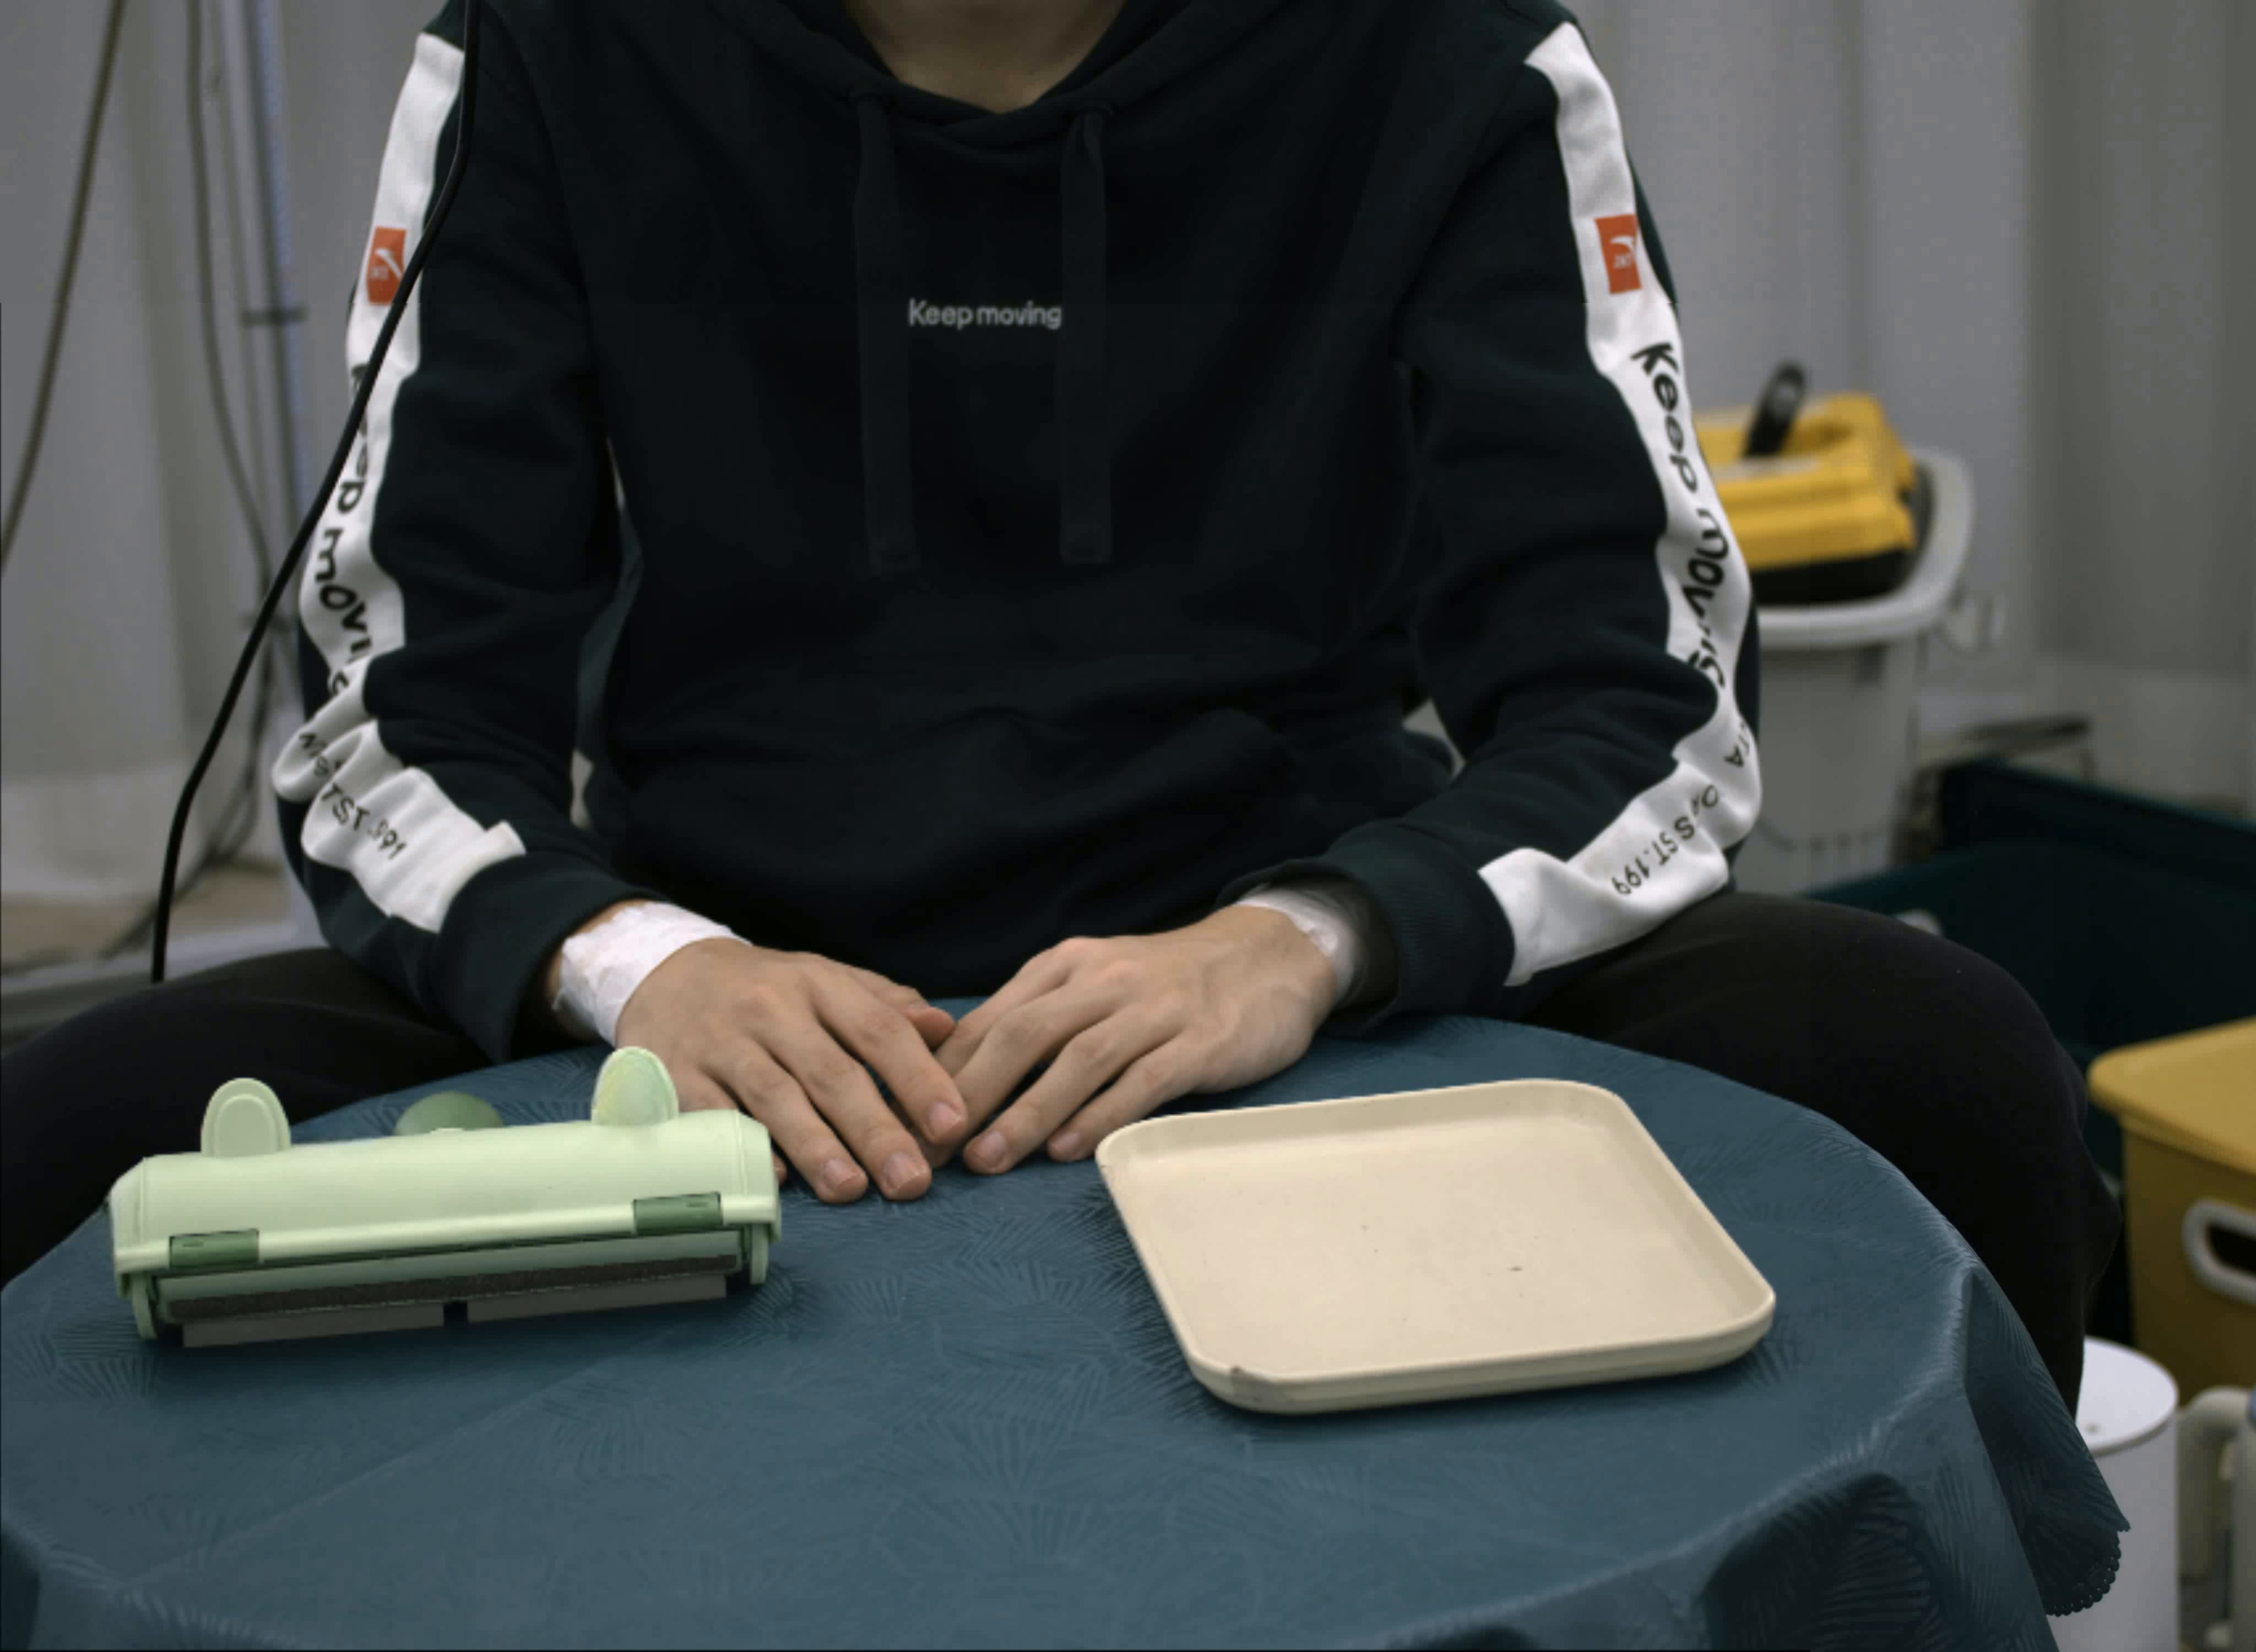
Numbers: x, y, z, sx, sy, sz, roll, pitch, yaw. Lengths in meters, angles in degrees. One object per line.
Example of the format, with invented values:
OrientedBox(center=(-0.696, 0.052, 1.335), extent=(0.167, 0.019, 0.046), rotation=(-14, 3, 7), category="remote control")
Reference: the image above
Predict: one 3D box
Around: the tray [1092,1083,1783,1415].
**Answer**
OrientedBox(center=(0.087, 0.124, 1.625), extent=(0.170, 0.017, 0.241), rotation=(-5, 15, -8), category="tray")

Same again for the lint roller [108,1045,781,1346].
OrientedBox(center=(-0.210, 0.095, 1.683), extent=(0.198, 0.082, 0.185), rotation=(-5, 19, -6), category="lint roller")
